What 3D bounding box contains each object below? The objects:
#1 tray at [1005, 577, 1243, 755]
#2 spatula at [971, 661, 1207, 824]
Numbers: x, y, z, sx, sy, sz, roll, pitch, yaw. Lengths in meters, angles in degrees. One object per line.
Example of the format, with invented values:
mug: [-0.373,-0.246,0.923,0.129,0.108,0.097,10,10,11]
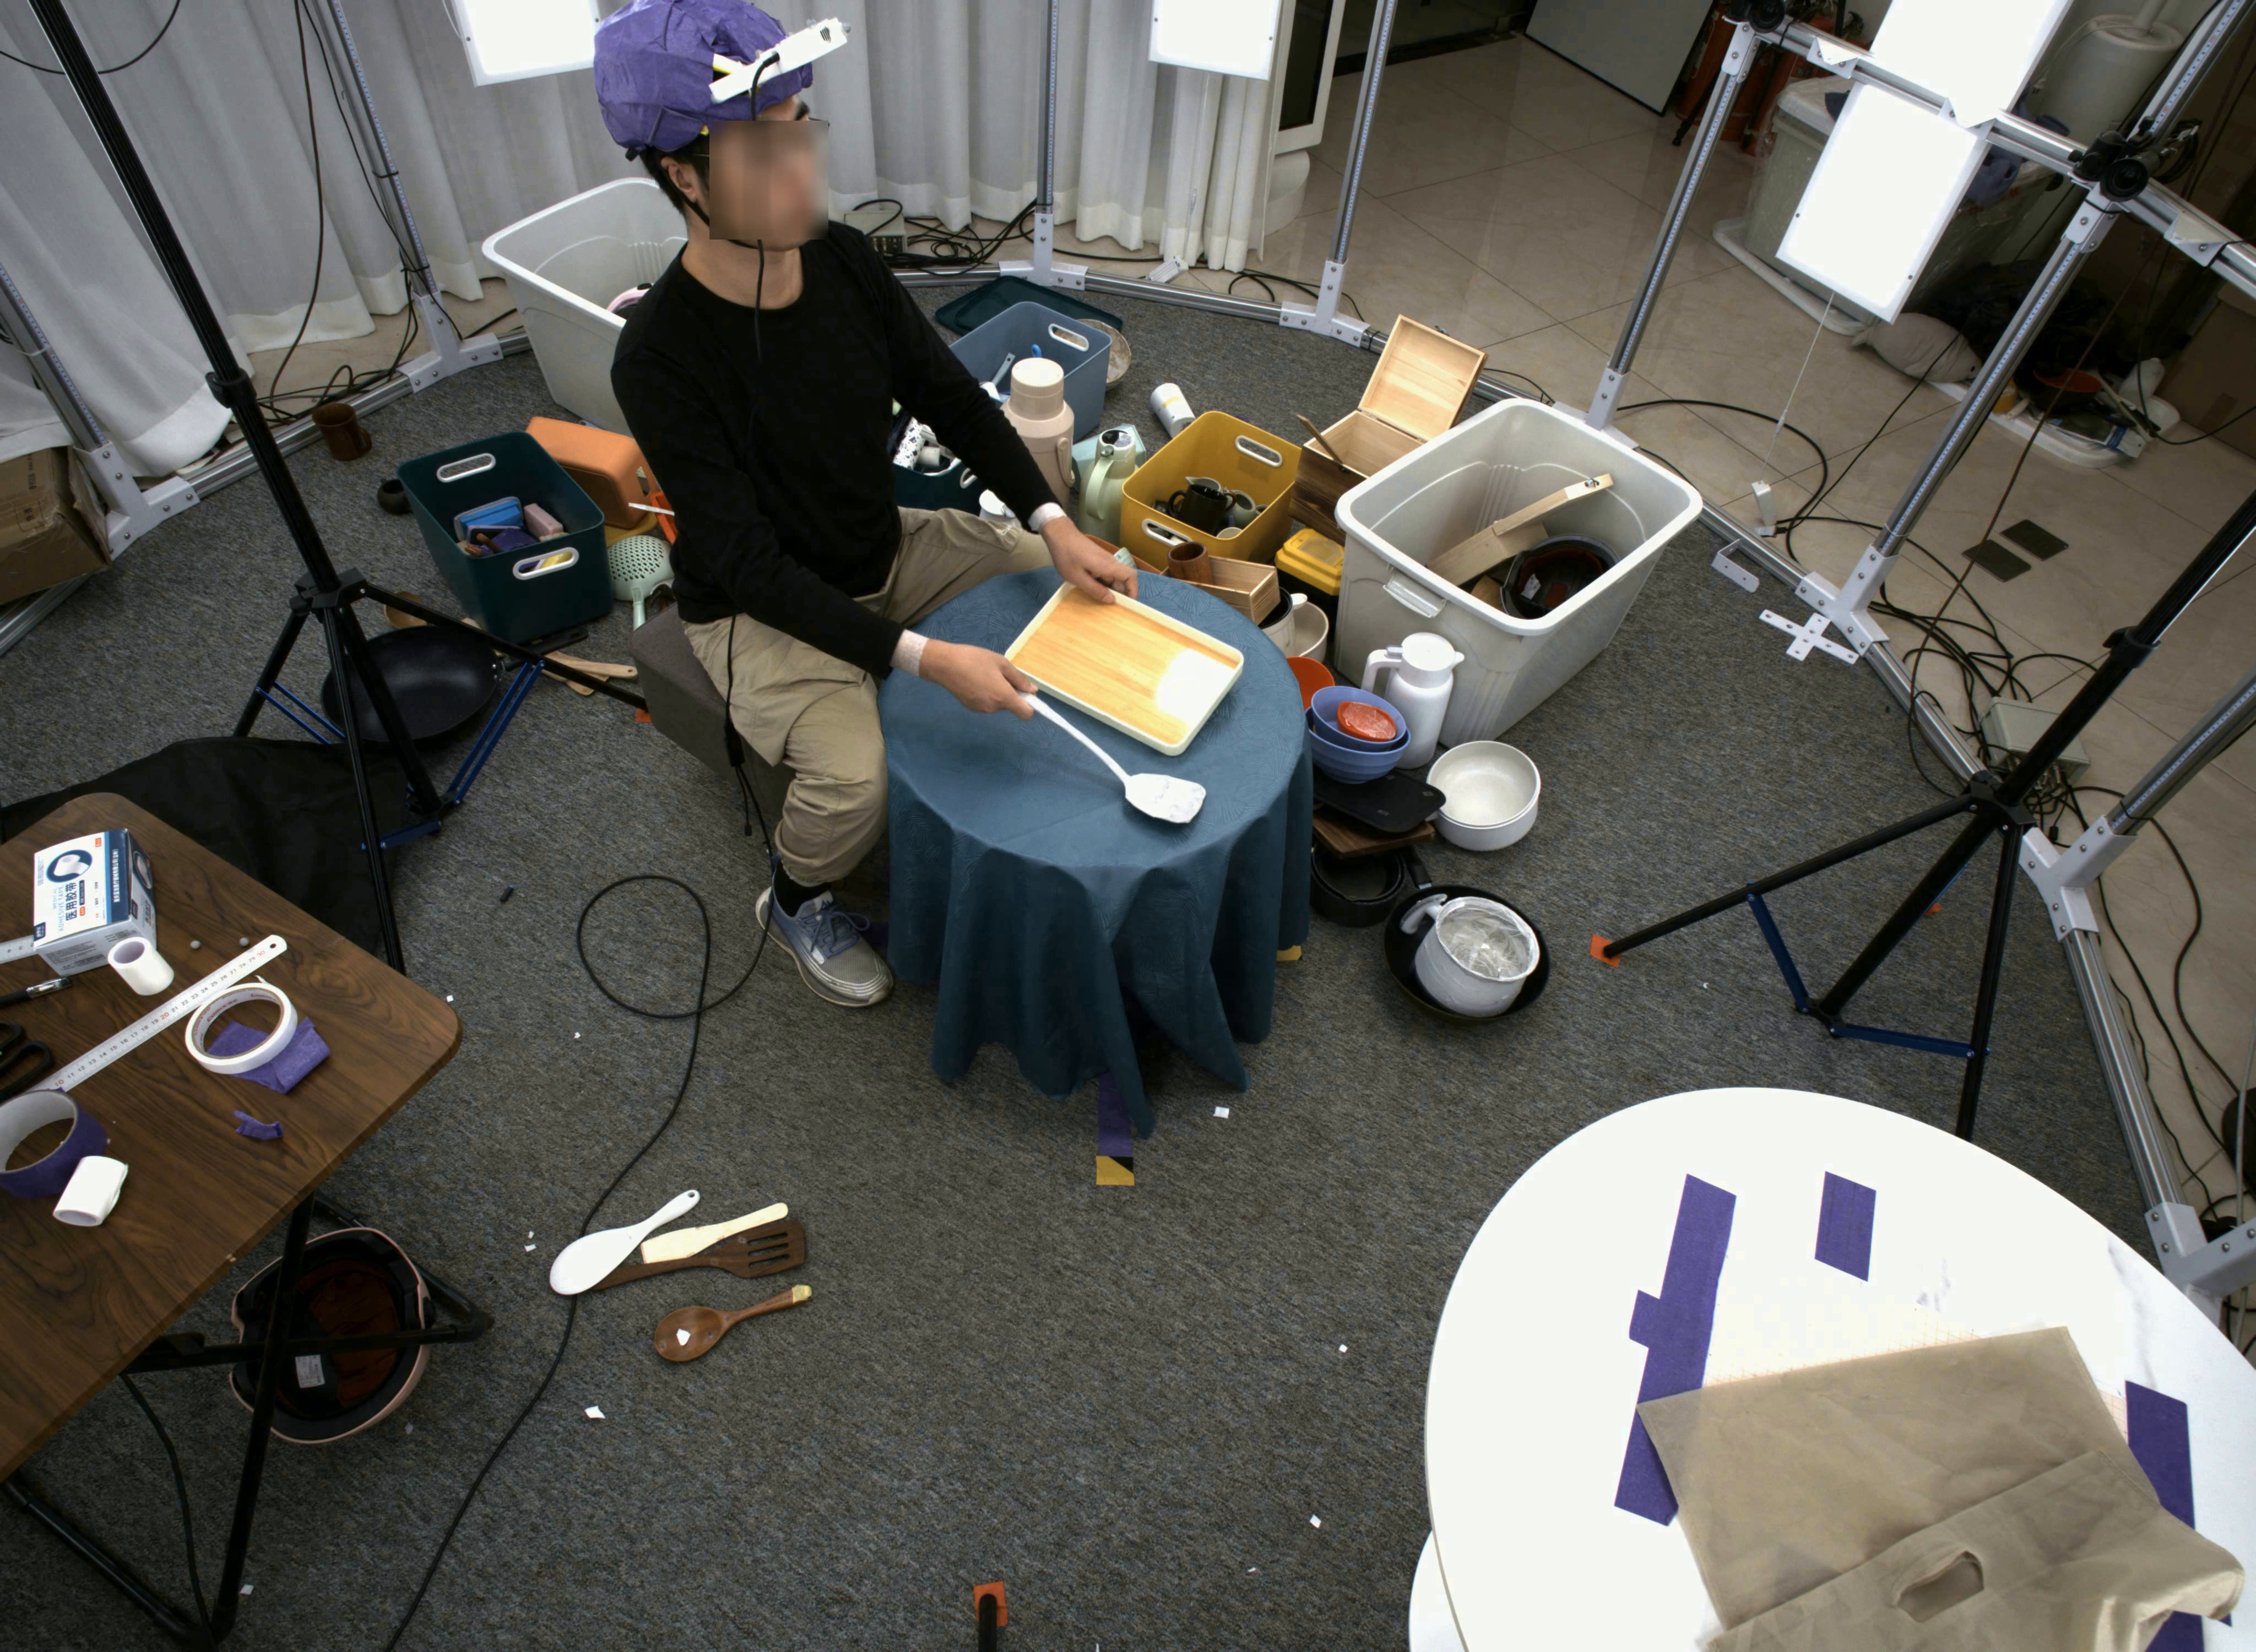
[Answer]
tray: [-0.006,-0.233,1.832,0.303,0.027,0.194,29,64,20]
spatula: [-0.059,-0.118,1.695,0.365,0.044,0.100,37,43,2]
